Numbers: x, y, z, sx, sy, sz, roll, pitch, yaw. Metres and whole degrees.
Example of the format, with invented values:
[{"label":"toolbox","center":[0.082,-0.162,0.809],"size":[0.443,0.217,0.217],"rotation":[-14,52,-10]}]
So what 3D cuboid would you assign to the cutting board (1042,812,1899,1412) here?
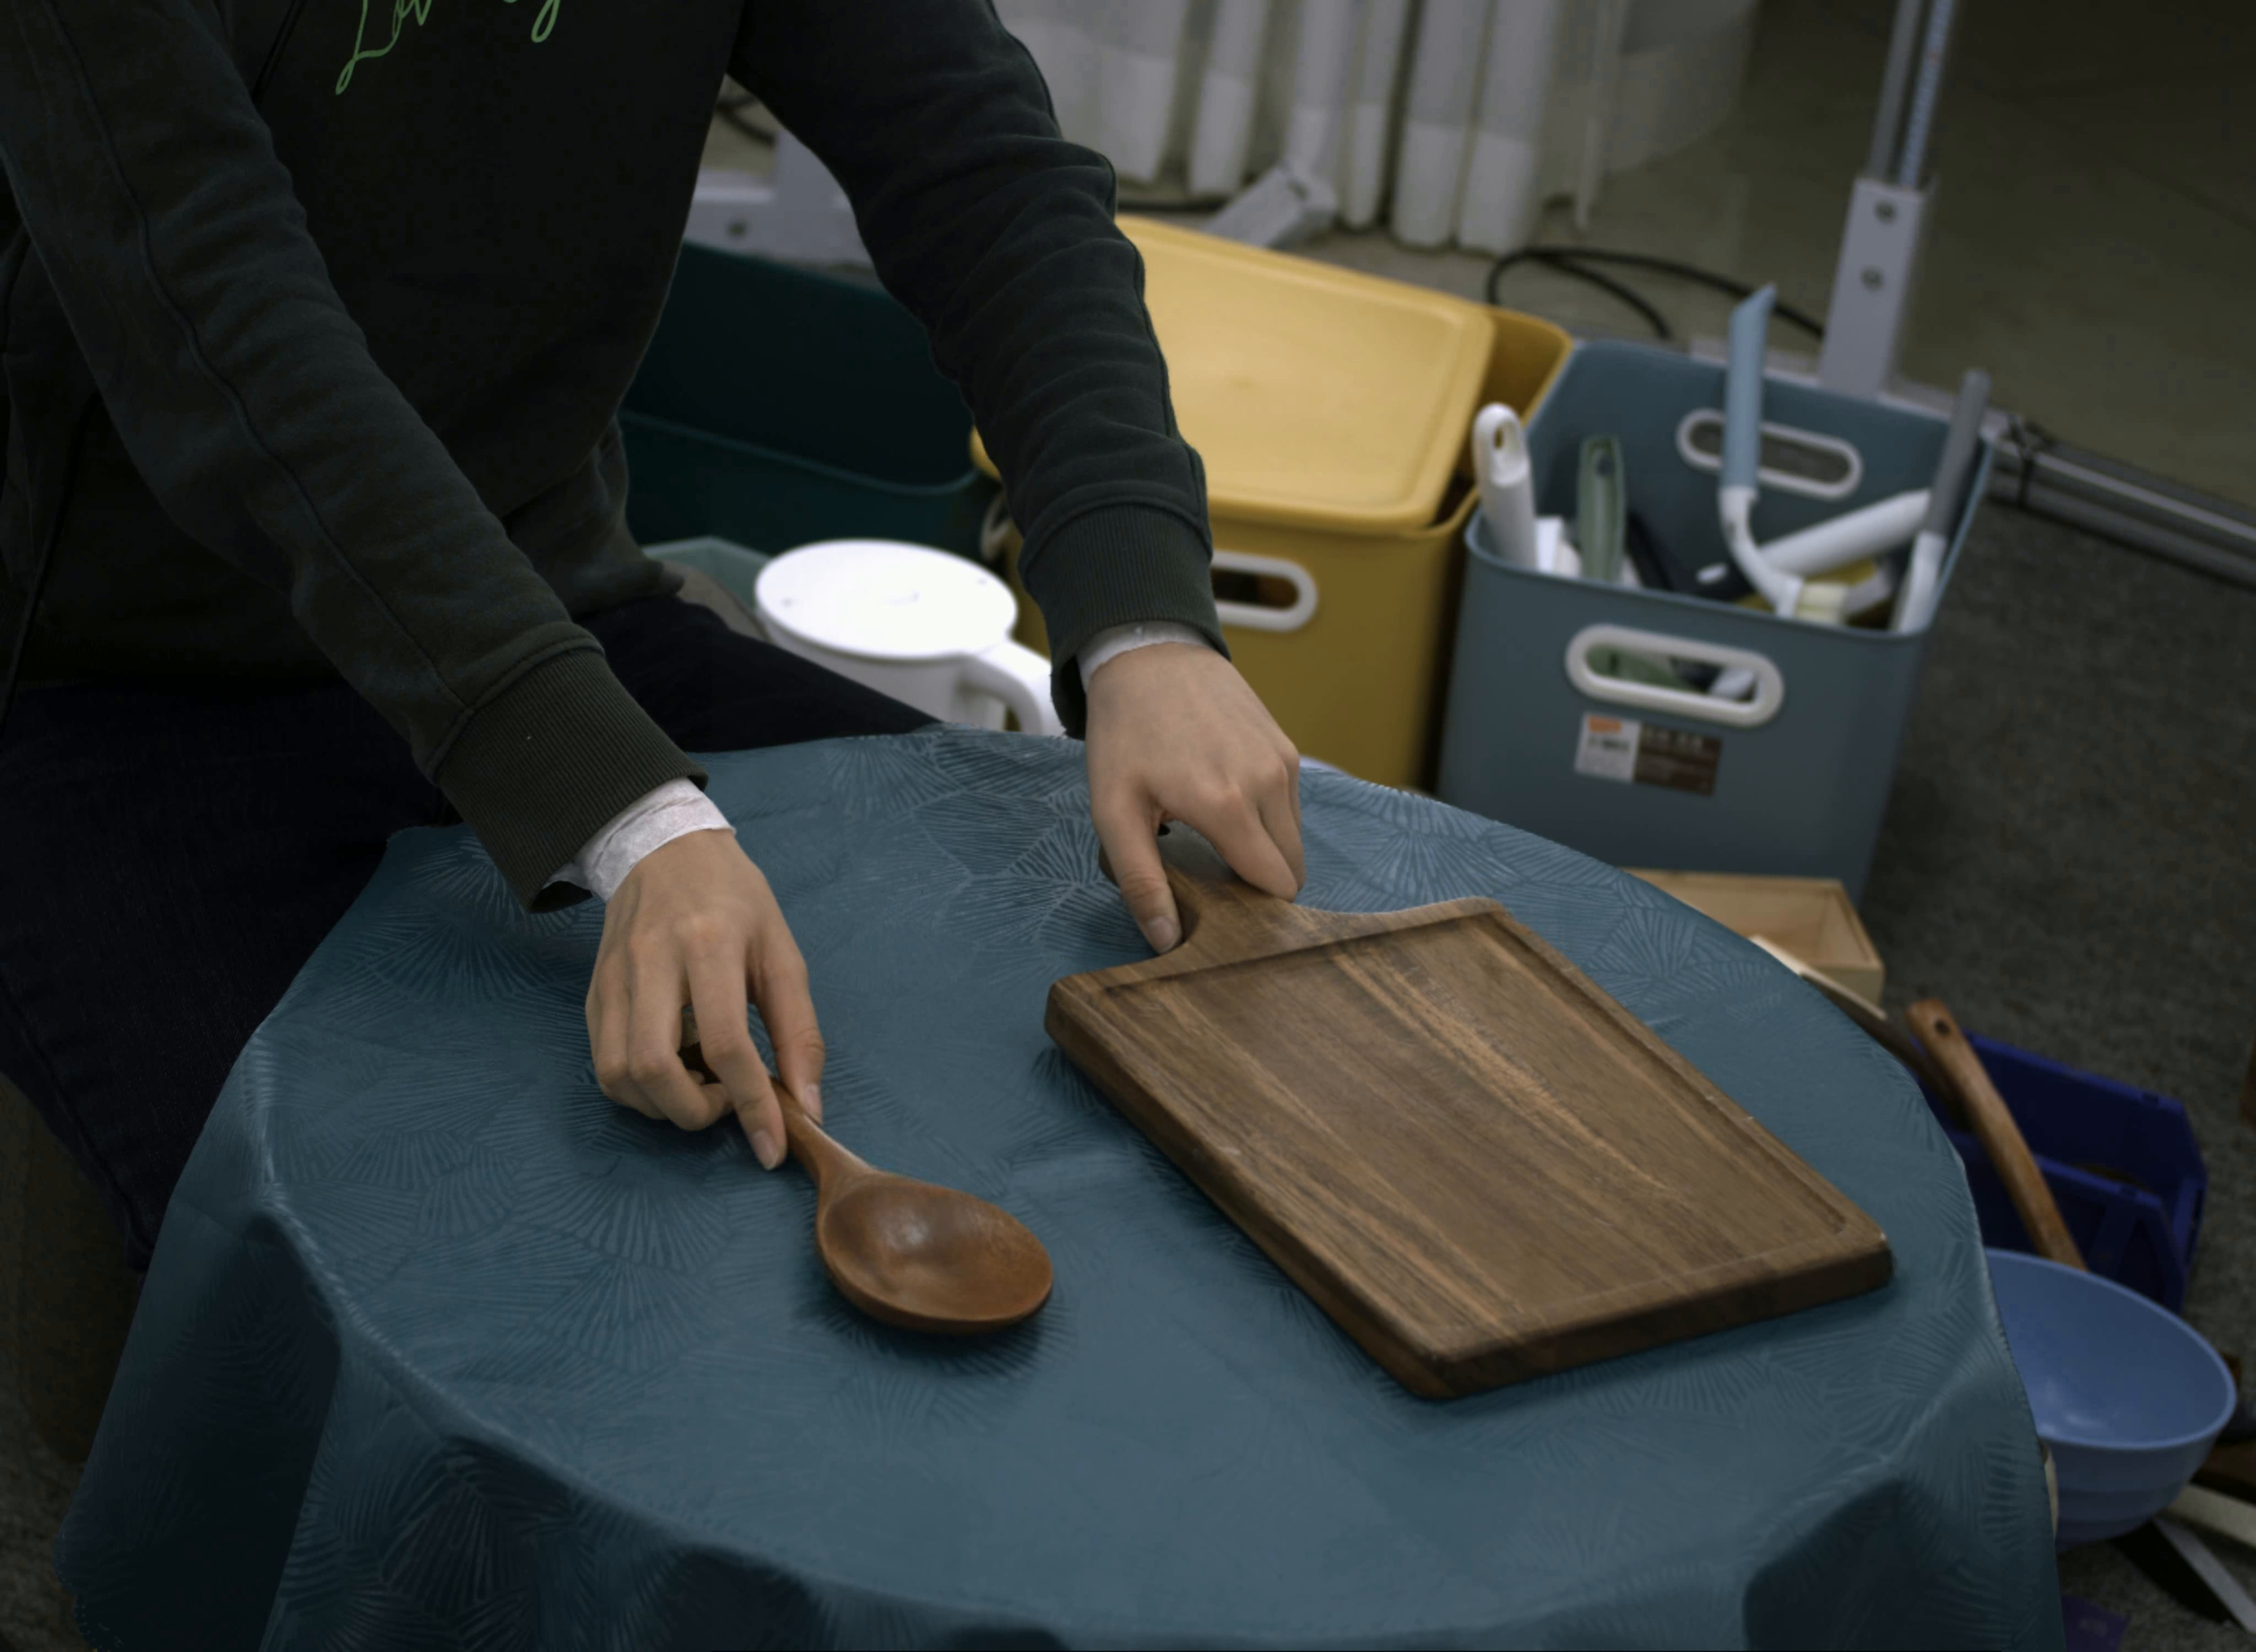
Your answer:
[{"label":"cutting board","center":[0.089,0.084,1.869],"size":[0.200,0.023,0.355],"rotation":[-11,33,-29]}]

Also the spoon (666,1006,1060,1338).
[{"label":"spoon","center":[-0.096,0.116,1.775],"size":[0.075,0.017,0.218],"rotation":[-12,33,-30]}]
